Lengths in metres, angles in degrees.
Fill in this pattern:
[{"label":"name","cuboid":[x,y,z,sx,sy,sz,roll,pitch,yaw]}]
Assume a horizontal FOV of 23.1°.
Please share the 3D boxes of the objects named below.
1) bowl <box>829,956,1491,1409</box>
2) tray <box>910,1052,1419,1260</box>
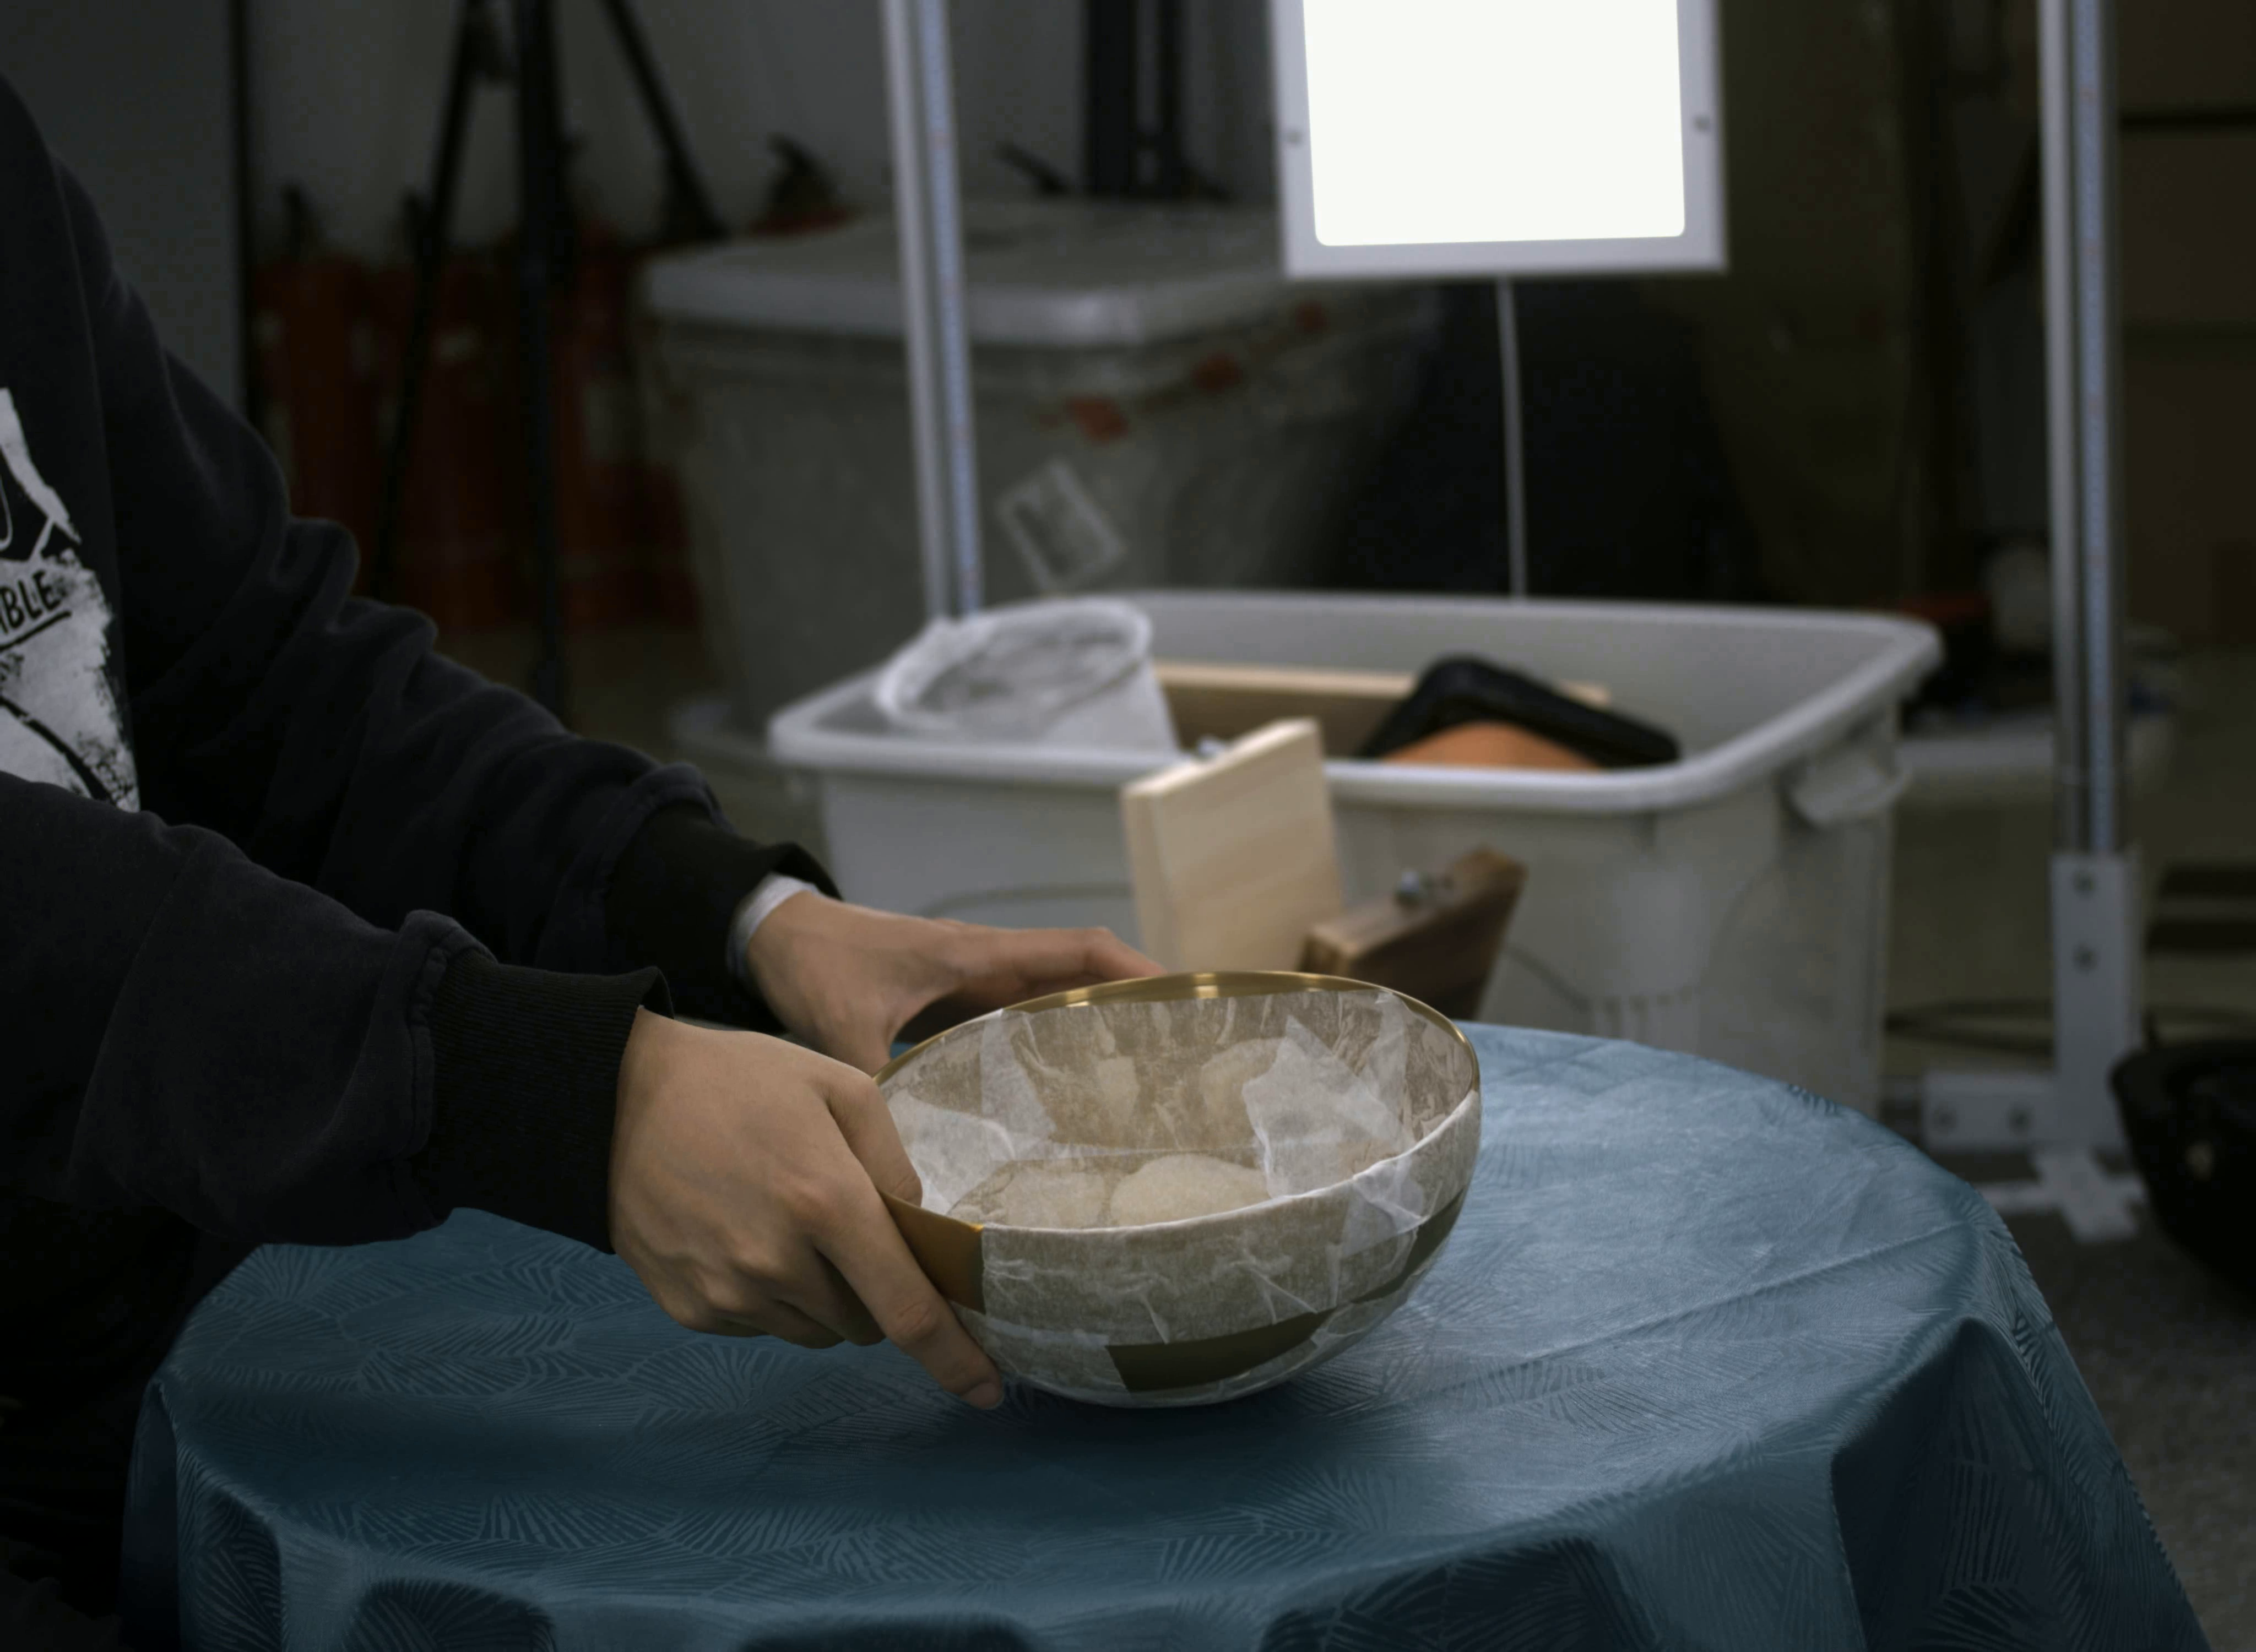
[{"label":"bowl","cuboid":[0.015,0.120,1.708,0.214,0.095,0.214,-8,21,2]},{"label":"tray","cuboid":[0.011,0.114,1.915,0.099,0.020,0.236,-17,20,-31]}]
